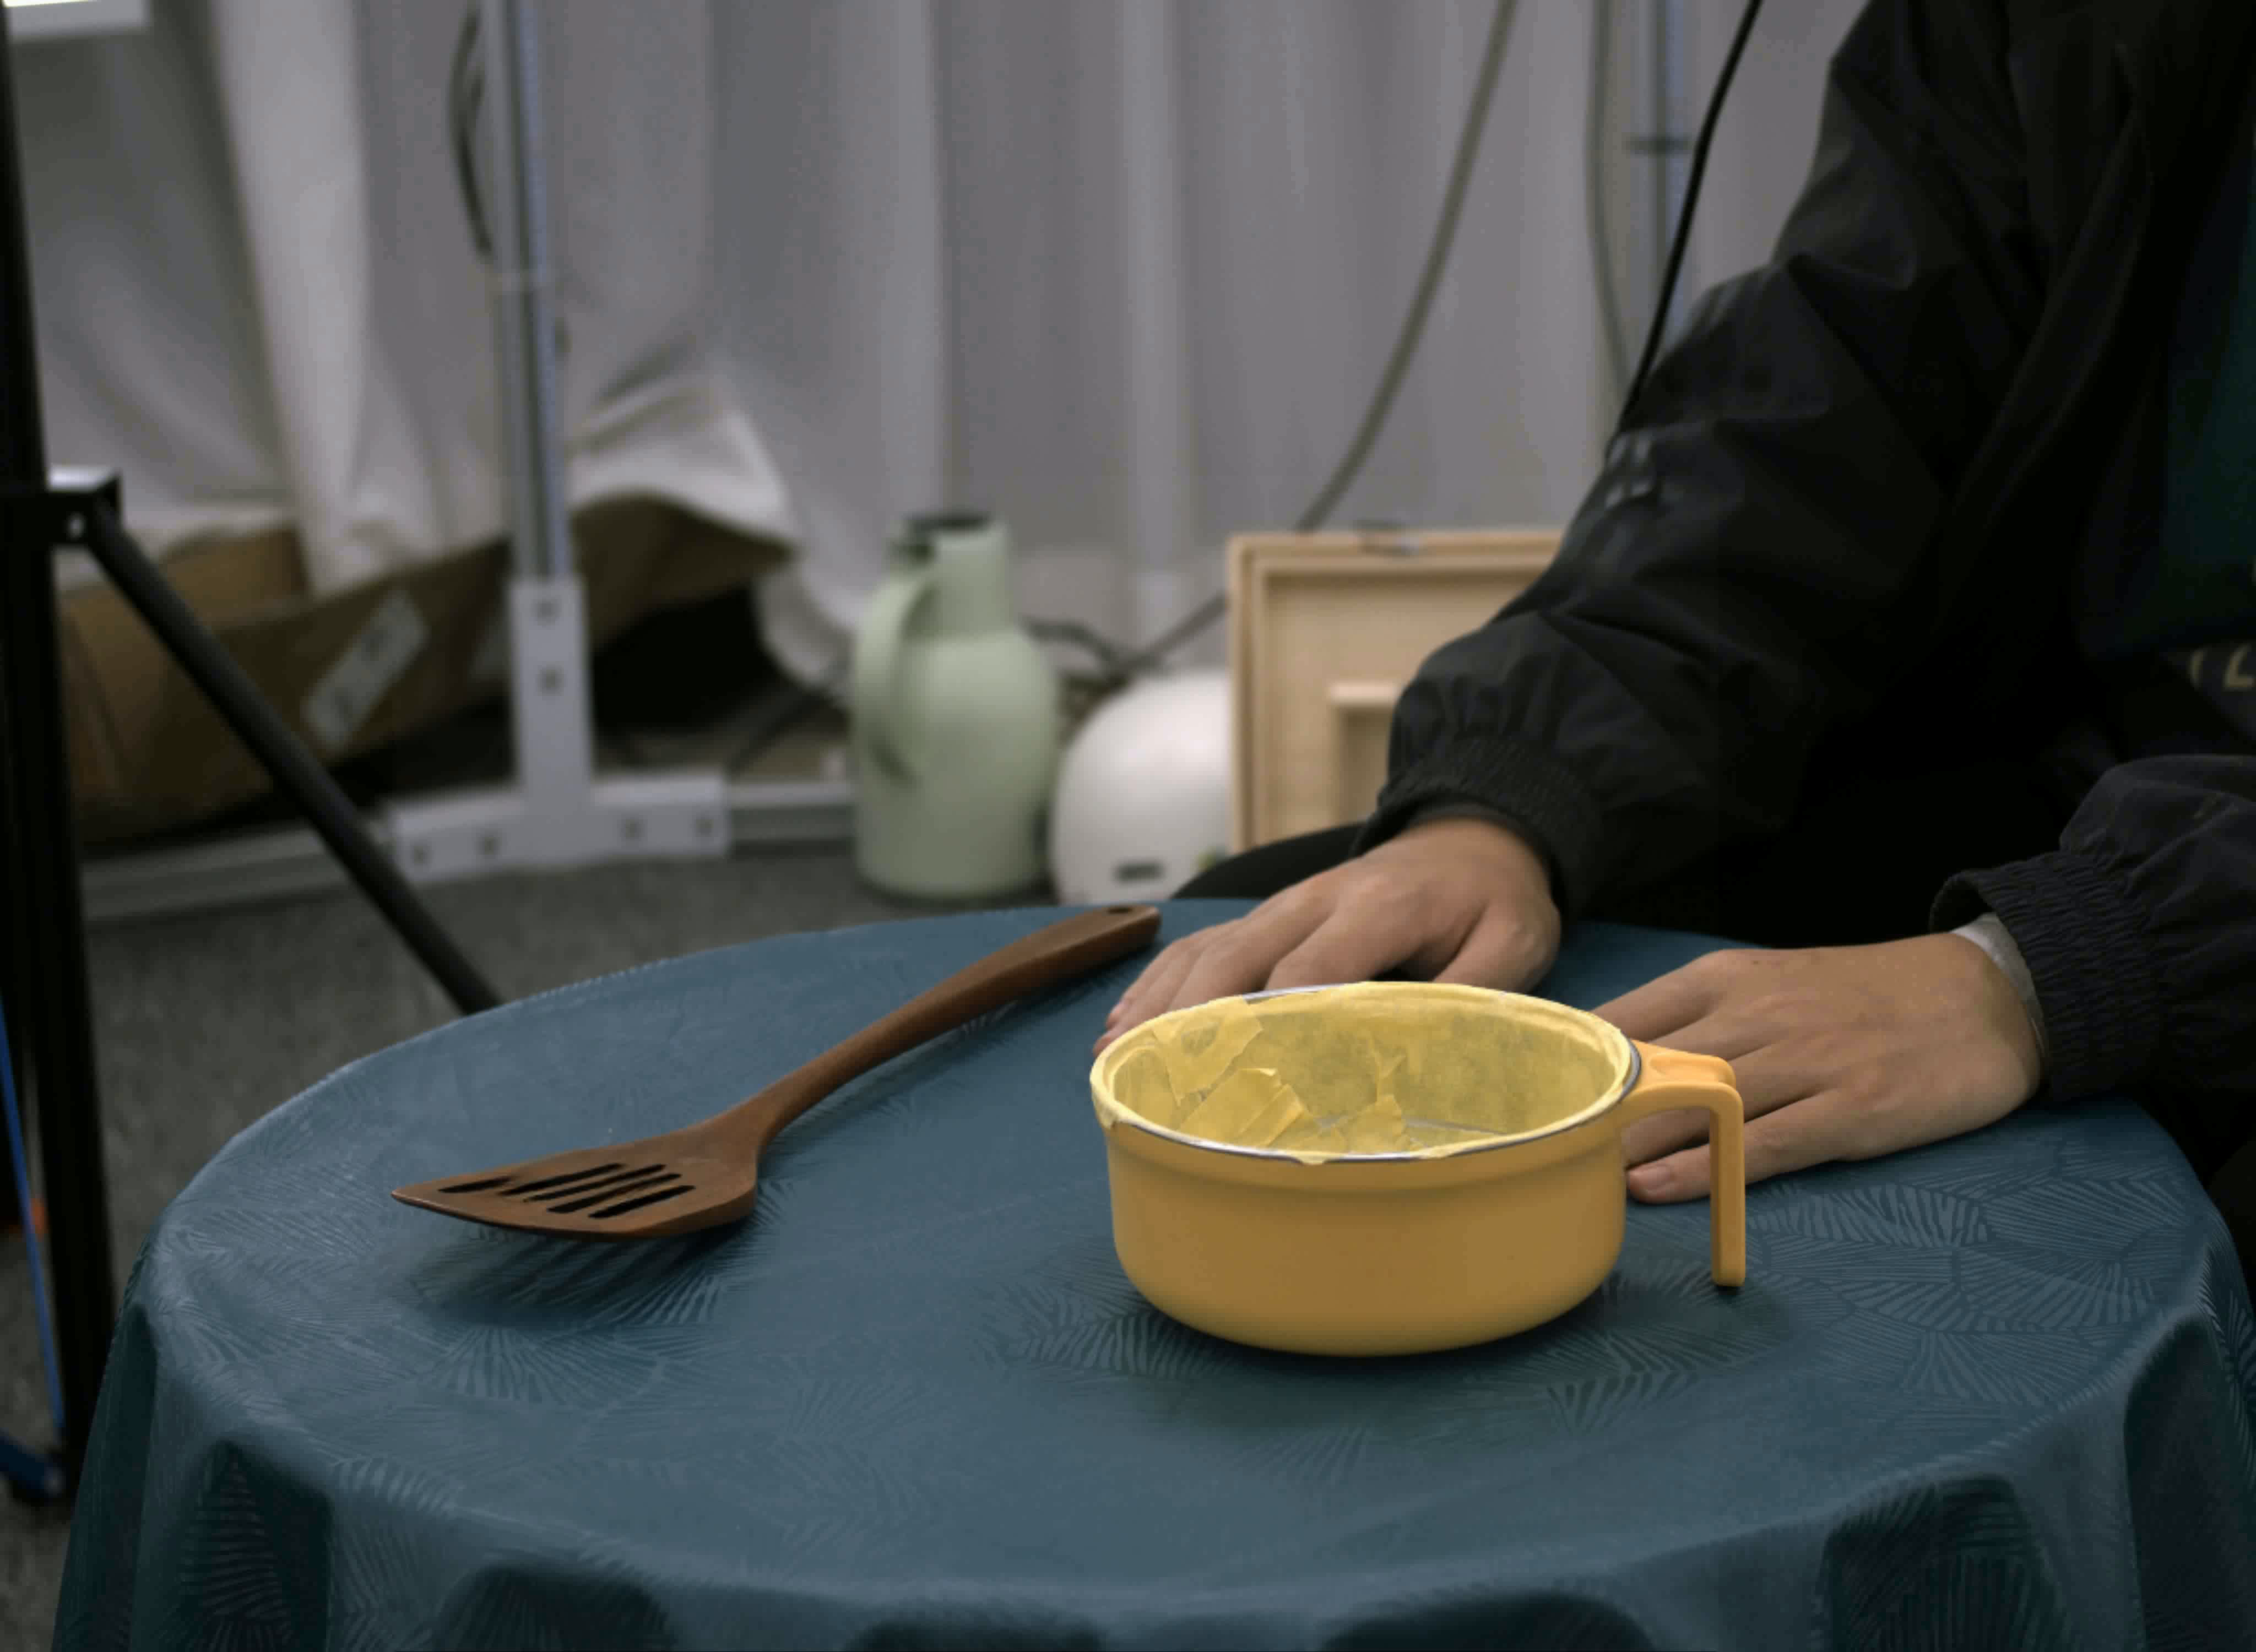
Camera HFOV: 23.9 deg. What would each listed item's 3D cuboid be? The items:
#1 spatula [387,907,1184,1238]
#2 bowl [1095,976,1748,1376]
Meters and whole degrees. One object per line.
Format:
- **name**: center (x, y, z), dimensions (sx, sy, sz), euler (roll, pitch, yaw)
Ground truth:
- **spatula**: center (-0.085, 0.076, 1.650), dimensions (0.087, 0.024, 0.379), euler (8, 17, 31)
- **bowl**: center (0.081, 0.099, 1.462), dimensions (0.178, 0.074, 0.154), euler (-3, 16, -2)
